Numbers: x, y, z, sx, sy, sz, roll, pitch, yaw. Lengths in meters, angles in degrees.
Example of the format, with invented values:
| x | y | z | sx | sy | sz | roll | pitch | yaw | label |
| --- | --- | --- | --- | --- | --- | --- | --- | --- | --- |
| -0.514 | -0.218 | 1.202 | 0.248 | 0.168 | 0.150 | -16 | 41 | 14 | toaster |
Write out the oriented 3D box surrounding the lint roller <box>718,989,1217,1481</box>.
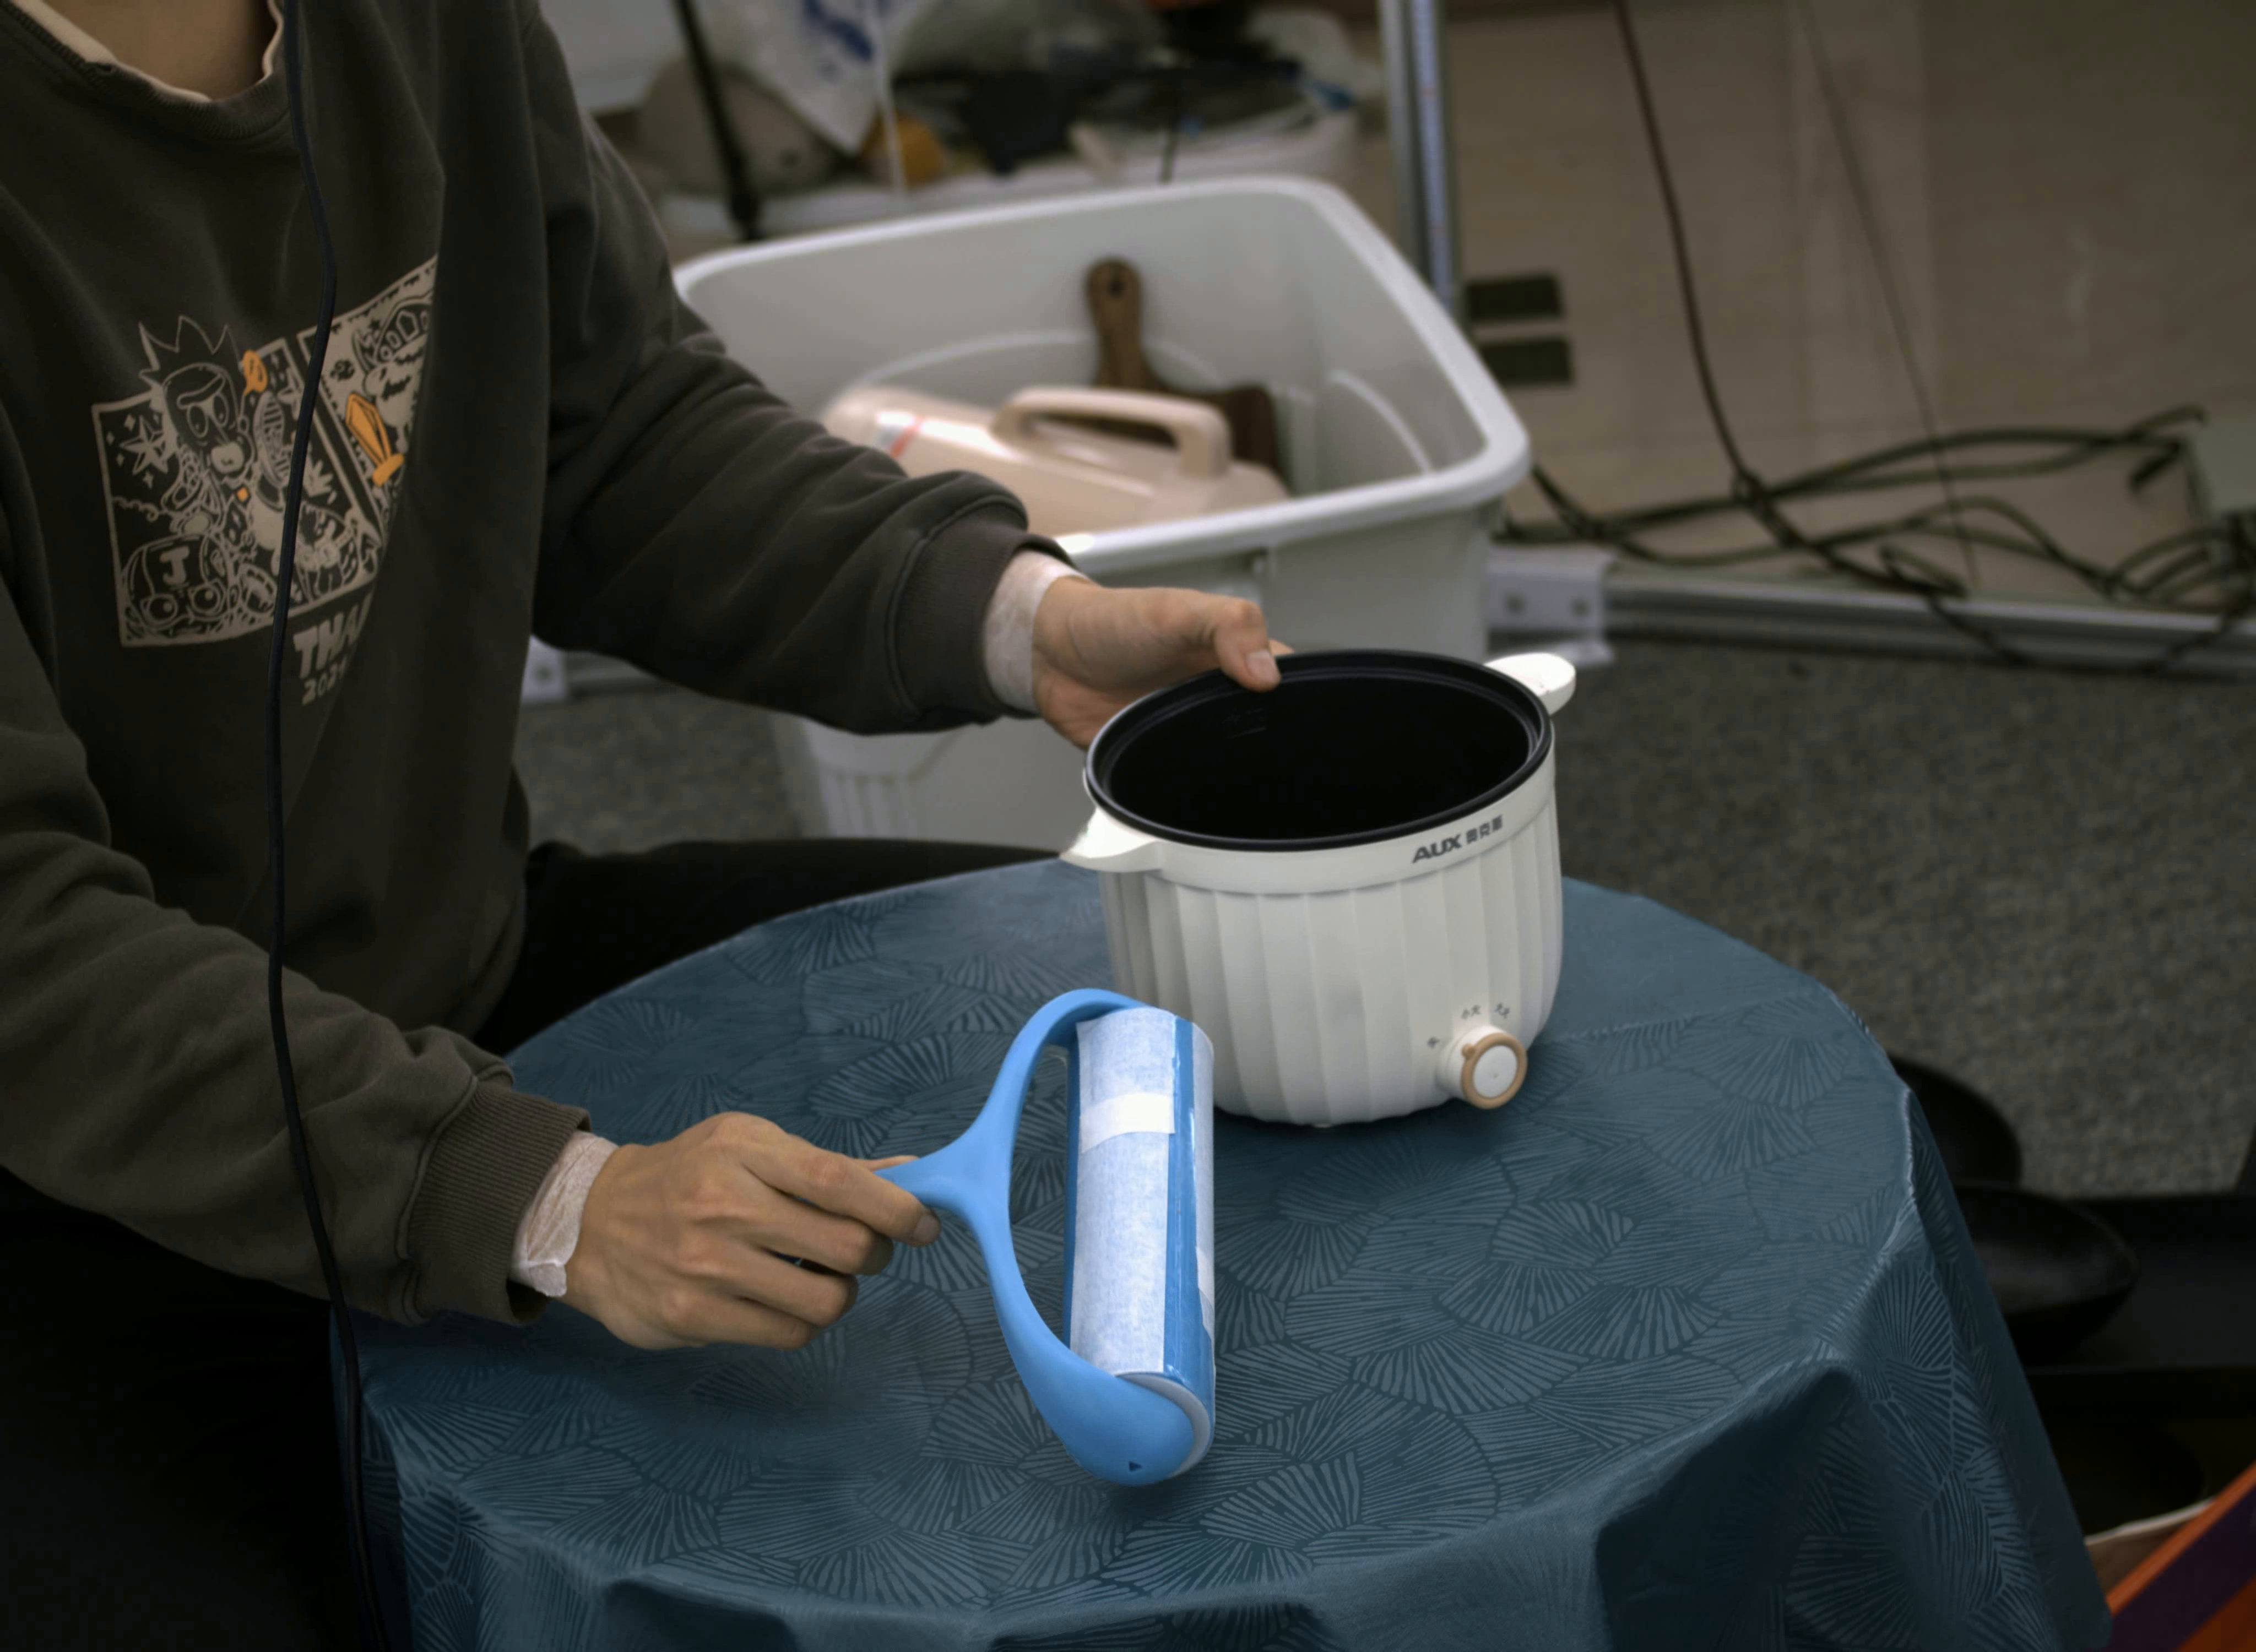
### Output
| x | y | z | sx | sy | sz | roll | pitch | yaw | label |
| --- | --- | --- | --- | --- | --- | --- | --- | --- | --- |
| -0.055 | 0.143 | 1.999 | 0.180 | 0.069 | 0.225 | 0 | 40 | -2 | lint roller |

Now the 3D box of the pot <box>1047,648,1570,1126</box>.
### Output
| x | y | z | sx | sy | sz | roll | pitch | yaw | label |
| --- | --- | --- | --- | --- | --- | --- | --- | --- | --- |
| 0.082 | 0.028 | 2.195 | 0.239 | 0.145 | 0.189 | -23 | 26 | -27 | pot |
